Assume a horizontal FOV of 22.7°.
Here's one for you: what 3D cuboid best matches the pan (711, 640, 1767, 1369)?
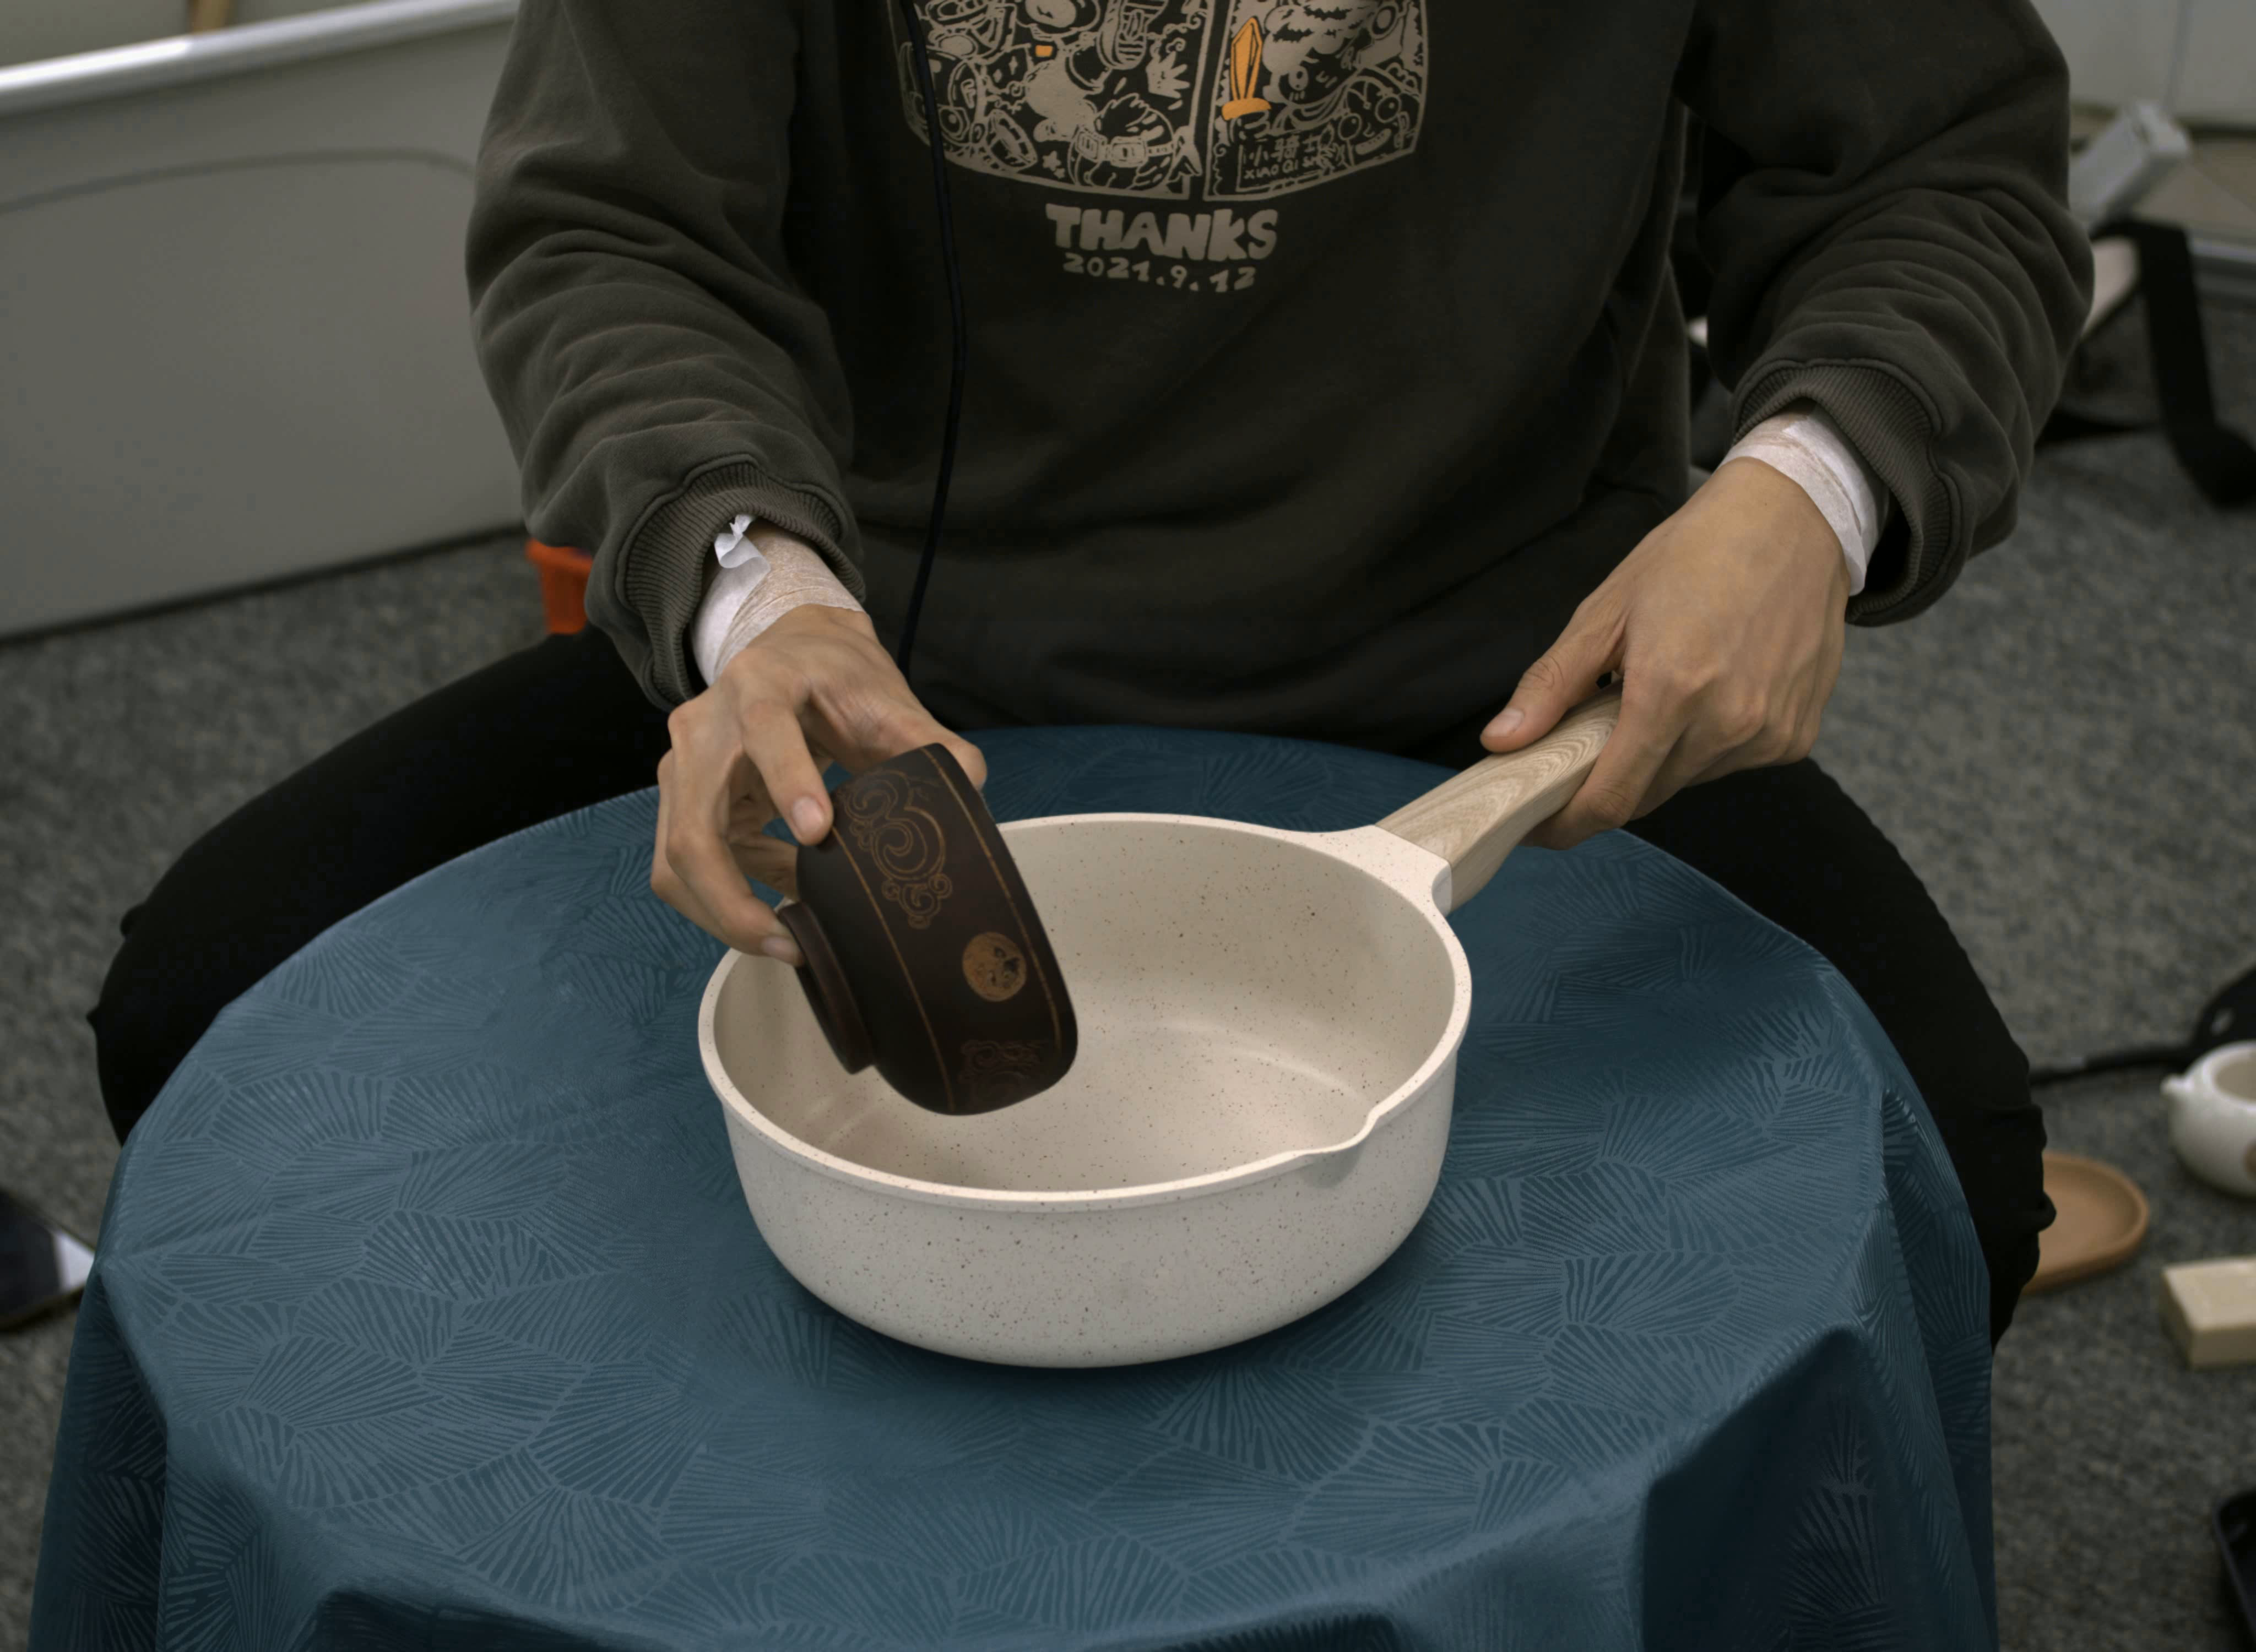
[{"bbox_3d":[0.061,0.054,1.880,0.439,0.101,0.263,-24,32,-35],"label":"pan"}]

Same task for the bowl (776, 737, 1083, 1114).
[{"bbox_3d":[-0.069,0.038,1.778,0.070,0.117,0.119,-24,32,-11],"label":"bowl"}]
